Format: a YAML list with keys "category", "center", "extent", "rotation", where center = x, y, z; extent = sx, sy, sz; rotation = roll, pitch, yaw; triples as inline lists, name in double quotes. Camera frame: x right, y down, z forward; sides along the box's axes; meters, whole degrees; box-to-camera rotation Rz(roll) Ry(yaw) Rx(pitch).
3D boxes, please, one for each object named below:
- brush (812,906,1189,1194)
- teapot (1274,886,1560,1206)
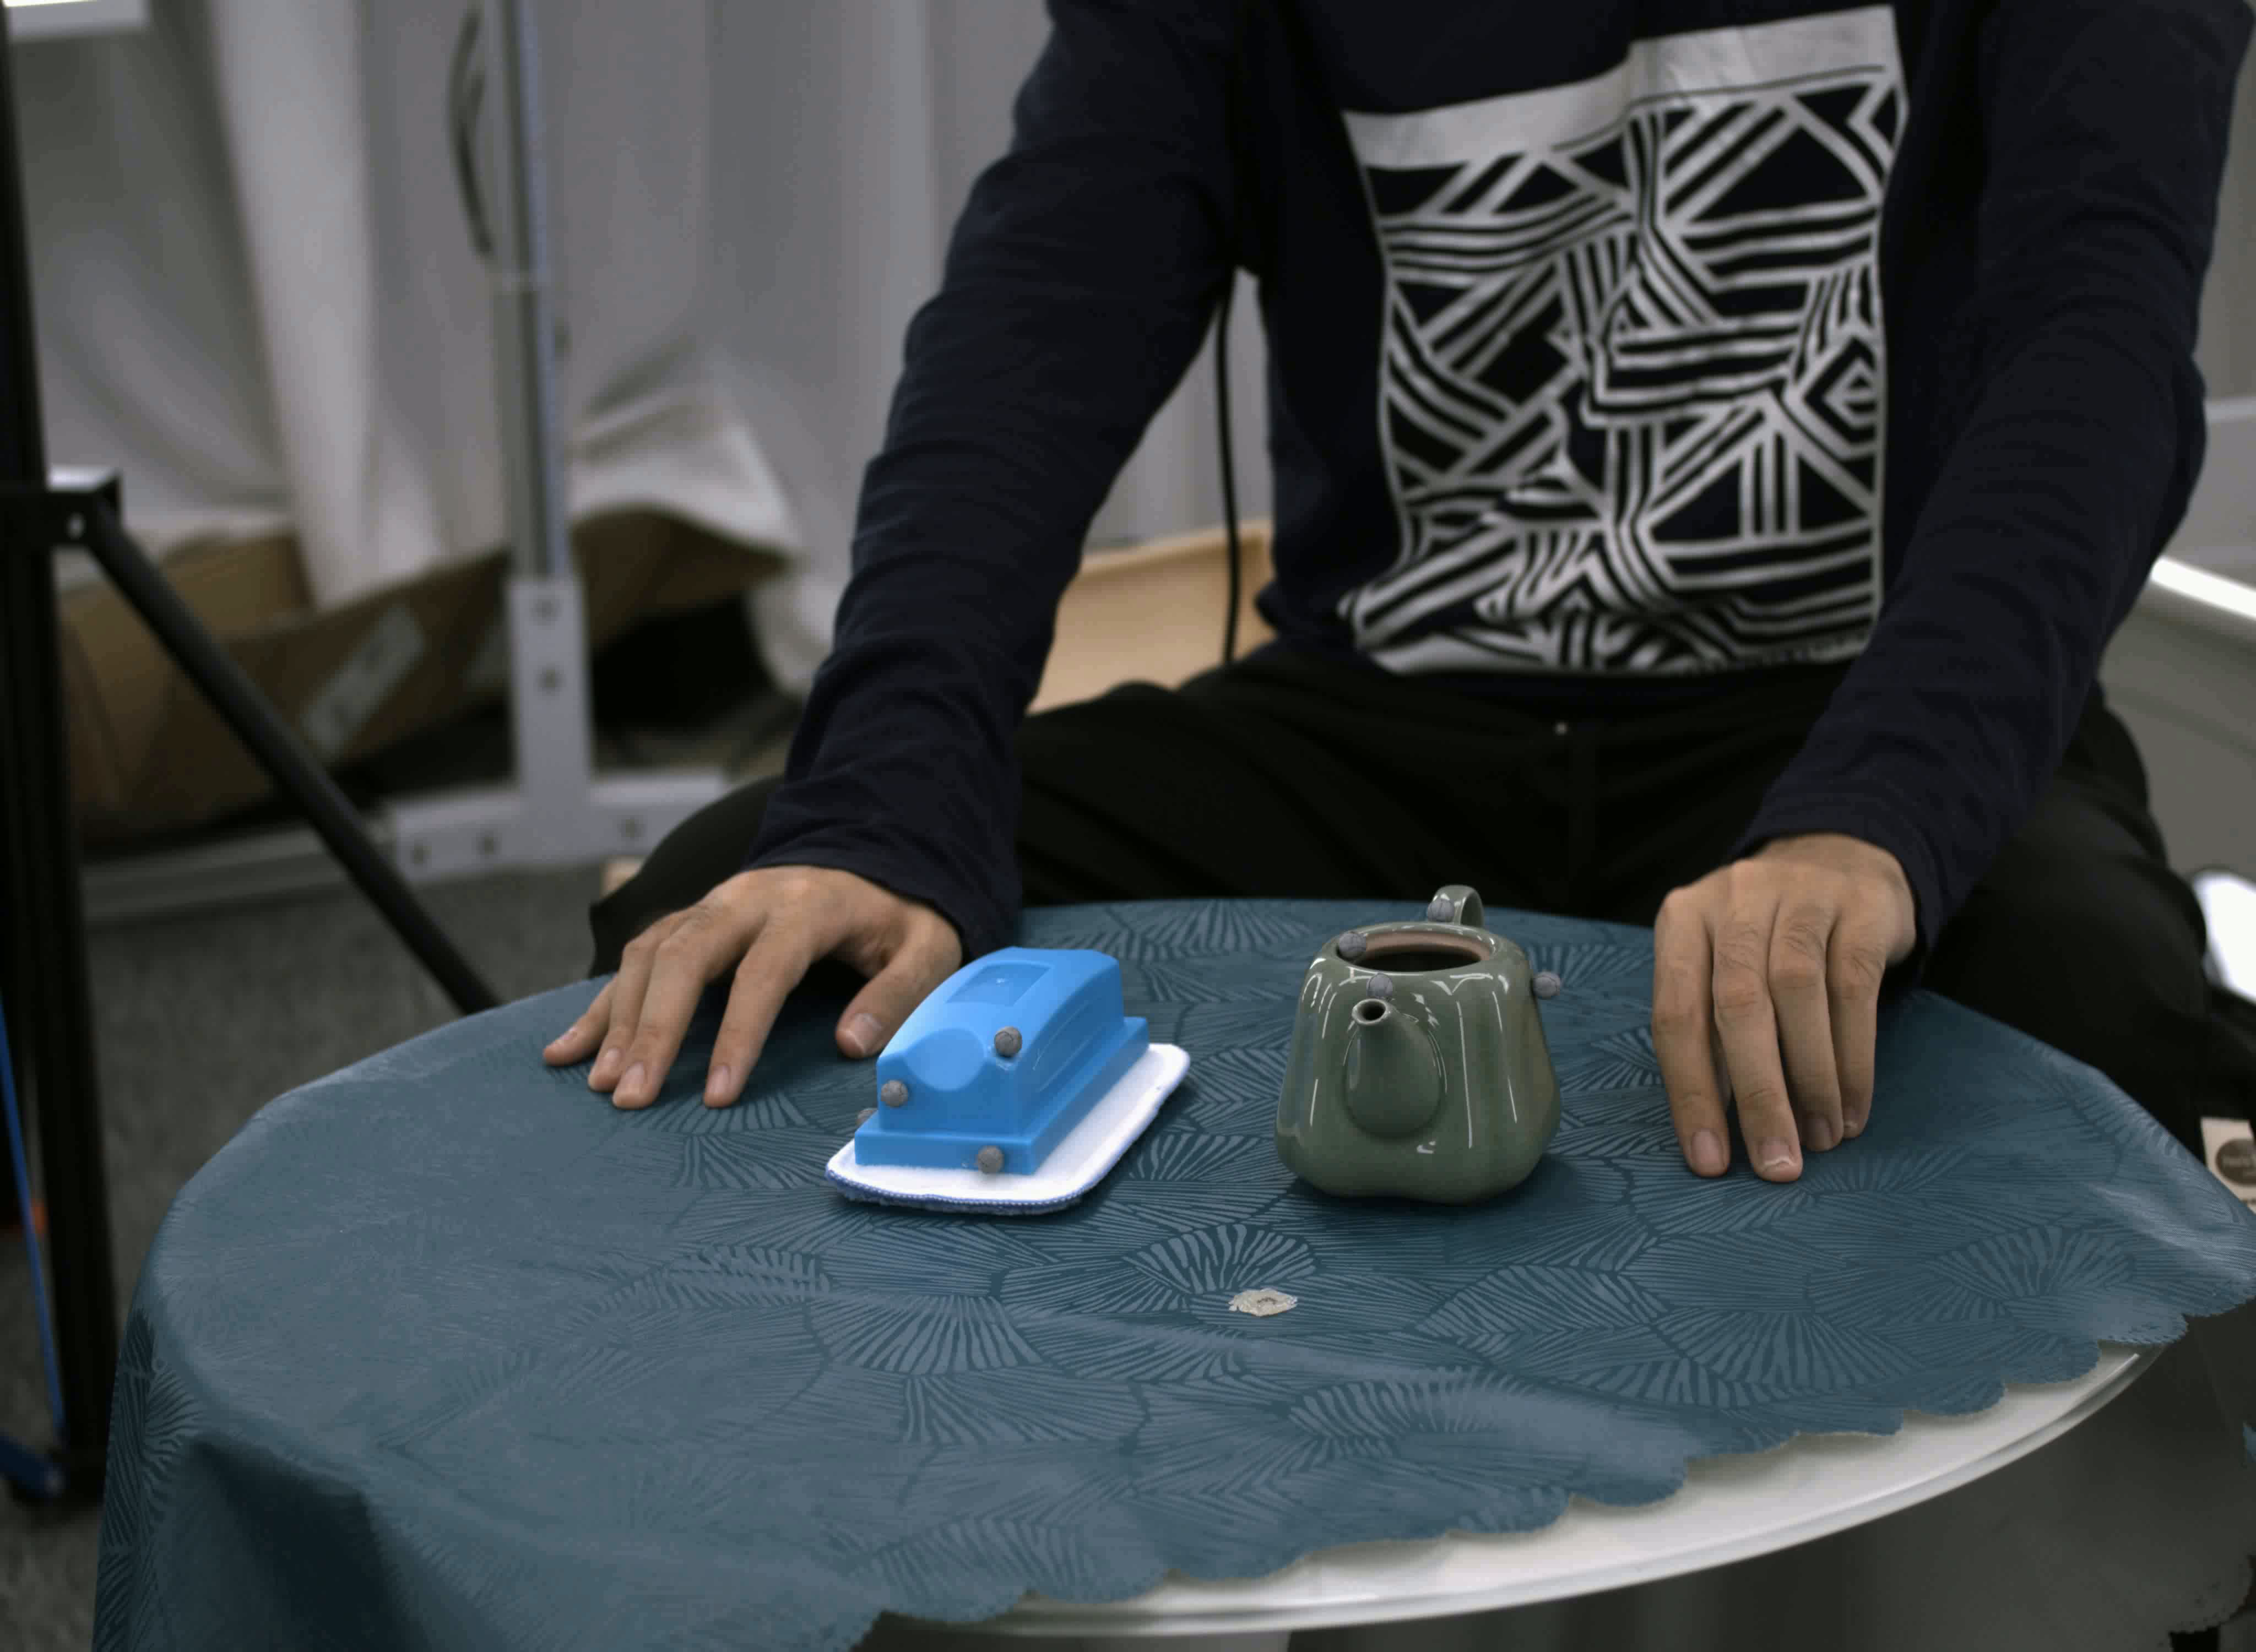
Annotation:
- category: "brush"
  center: [-0.037, 0.064, 1.609]
  extent: [0.085, 0.056, 0.142]
  rotation: [6, 20, 18]
- category: "teapot"
  center: [0.085, 0.068, 1.556]
  extent: [0.080, 0.075, 0.131]
  rotation: [2, 15, 17]
